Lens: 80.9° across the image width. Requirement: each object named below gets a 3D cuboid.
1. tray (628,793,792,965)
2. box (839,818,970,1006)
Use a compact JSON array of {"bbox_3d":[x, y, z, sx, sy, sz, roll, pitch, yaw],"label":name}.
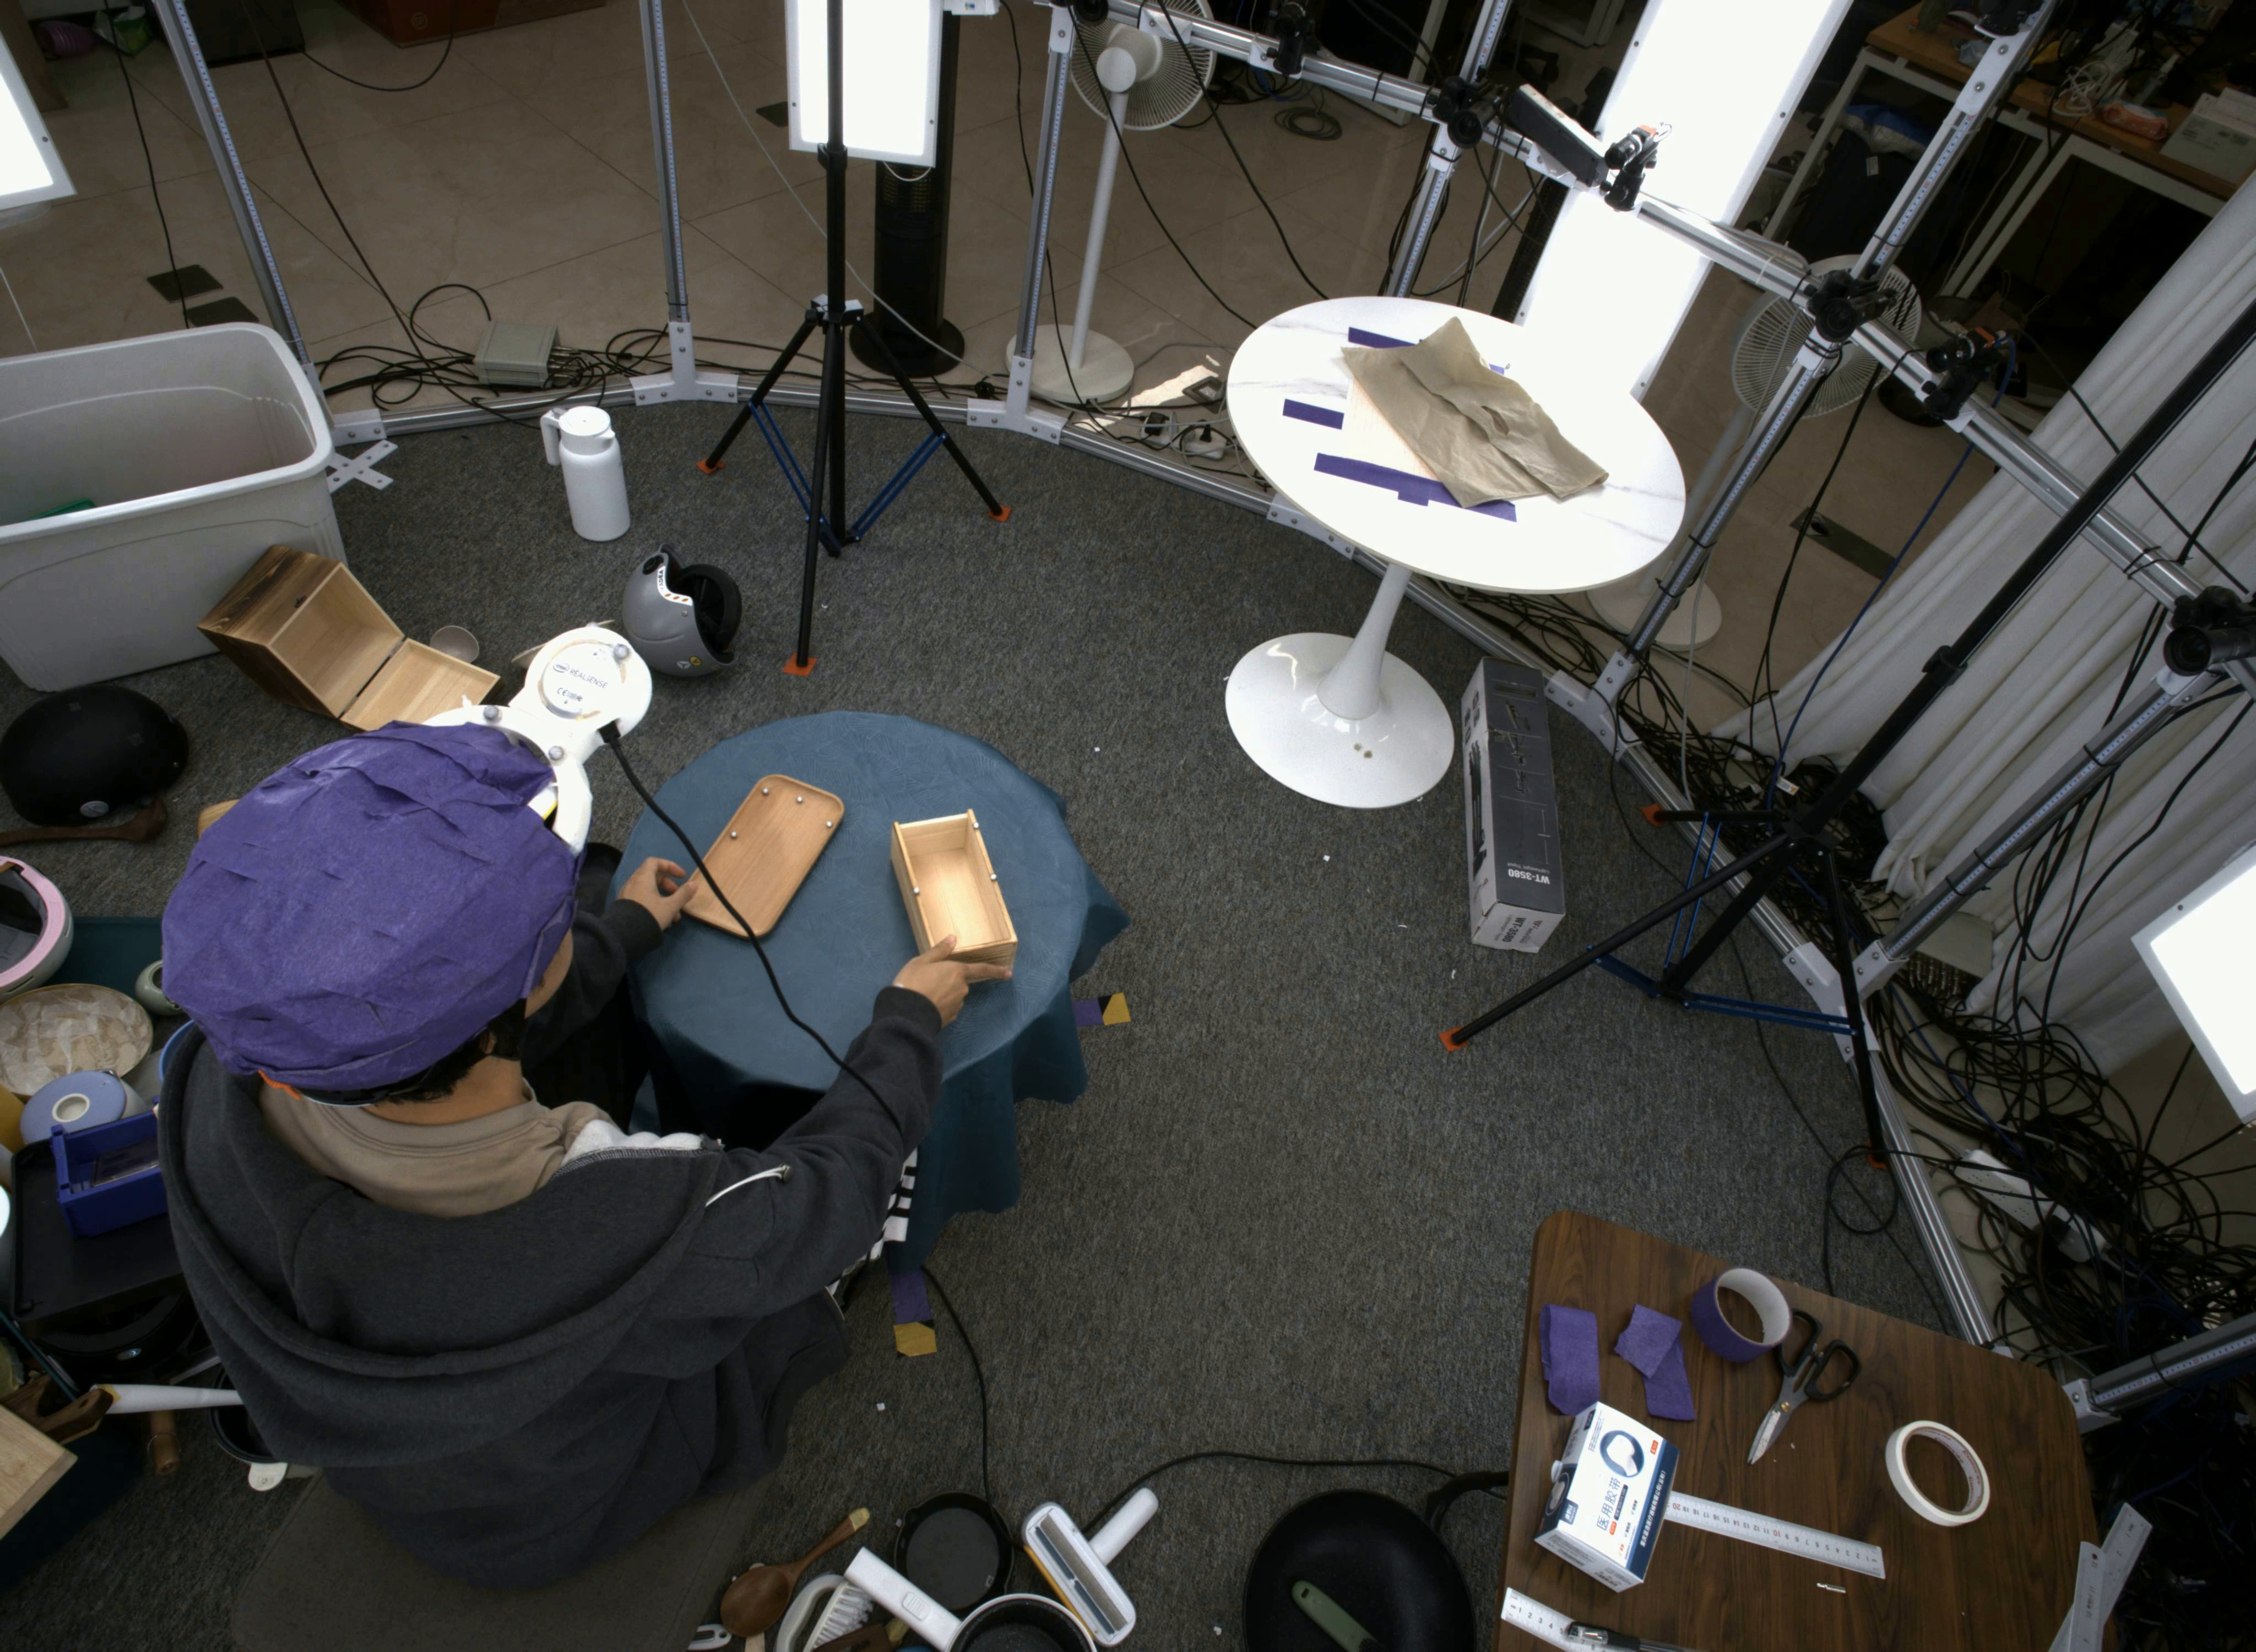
[{"bbox_3d":[-0.530,0.062,1.644,0.129,0.023,0.248,18,52,2],"label":"tray"},{"bbox_3d":[-0.283,0.104,1.637,0.108,0.082,0.206,-14,58,-22],"label":"box"}]
